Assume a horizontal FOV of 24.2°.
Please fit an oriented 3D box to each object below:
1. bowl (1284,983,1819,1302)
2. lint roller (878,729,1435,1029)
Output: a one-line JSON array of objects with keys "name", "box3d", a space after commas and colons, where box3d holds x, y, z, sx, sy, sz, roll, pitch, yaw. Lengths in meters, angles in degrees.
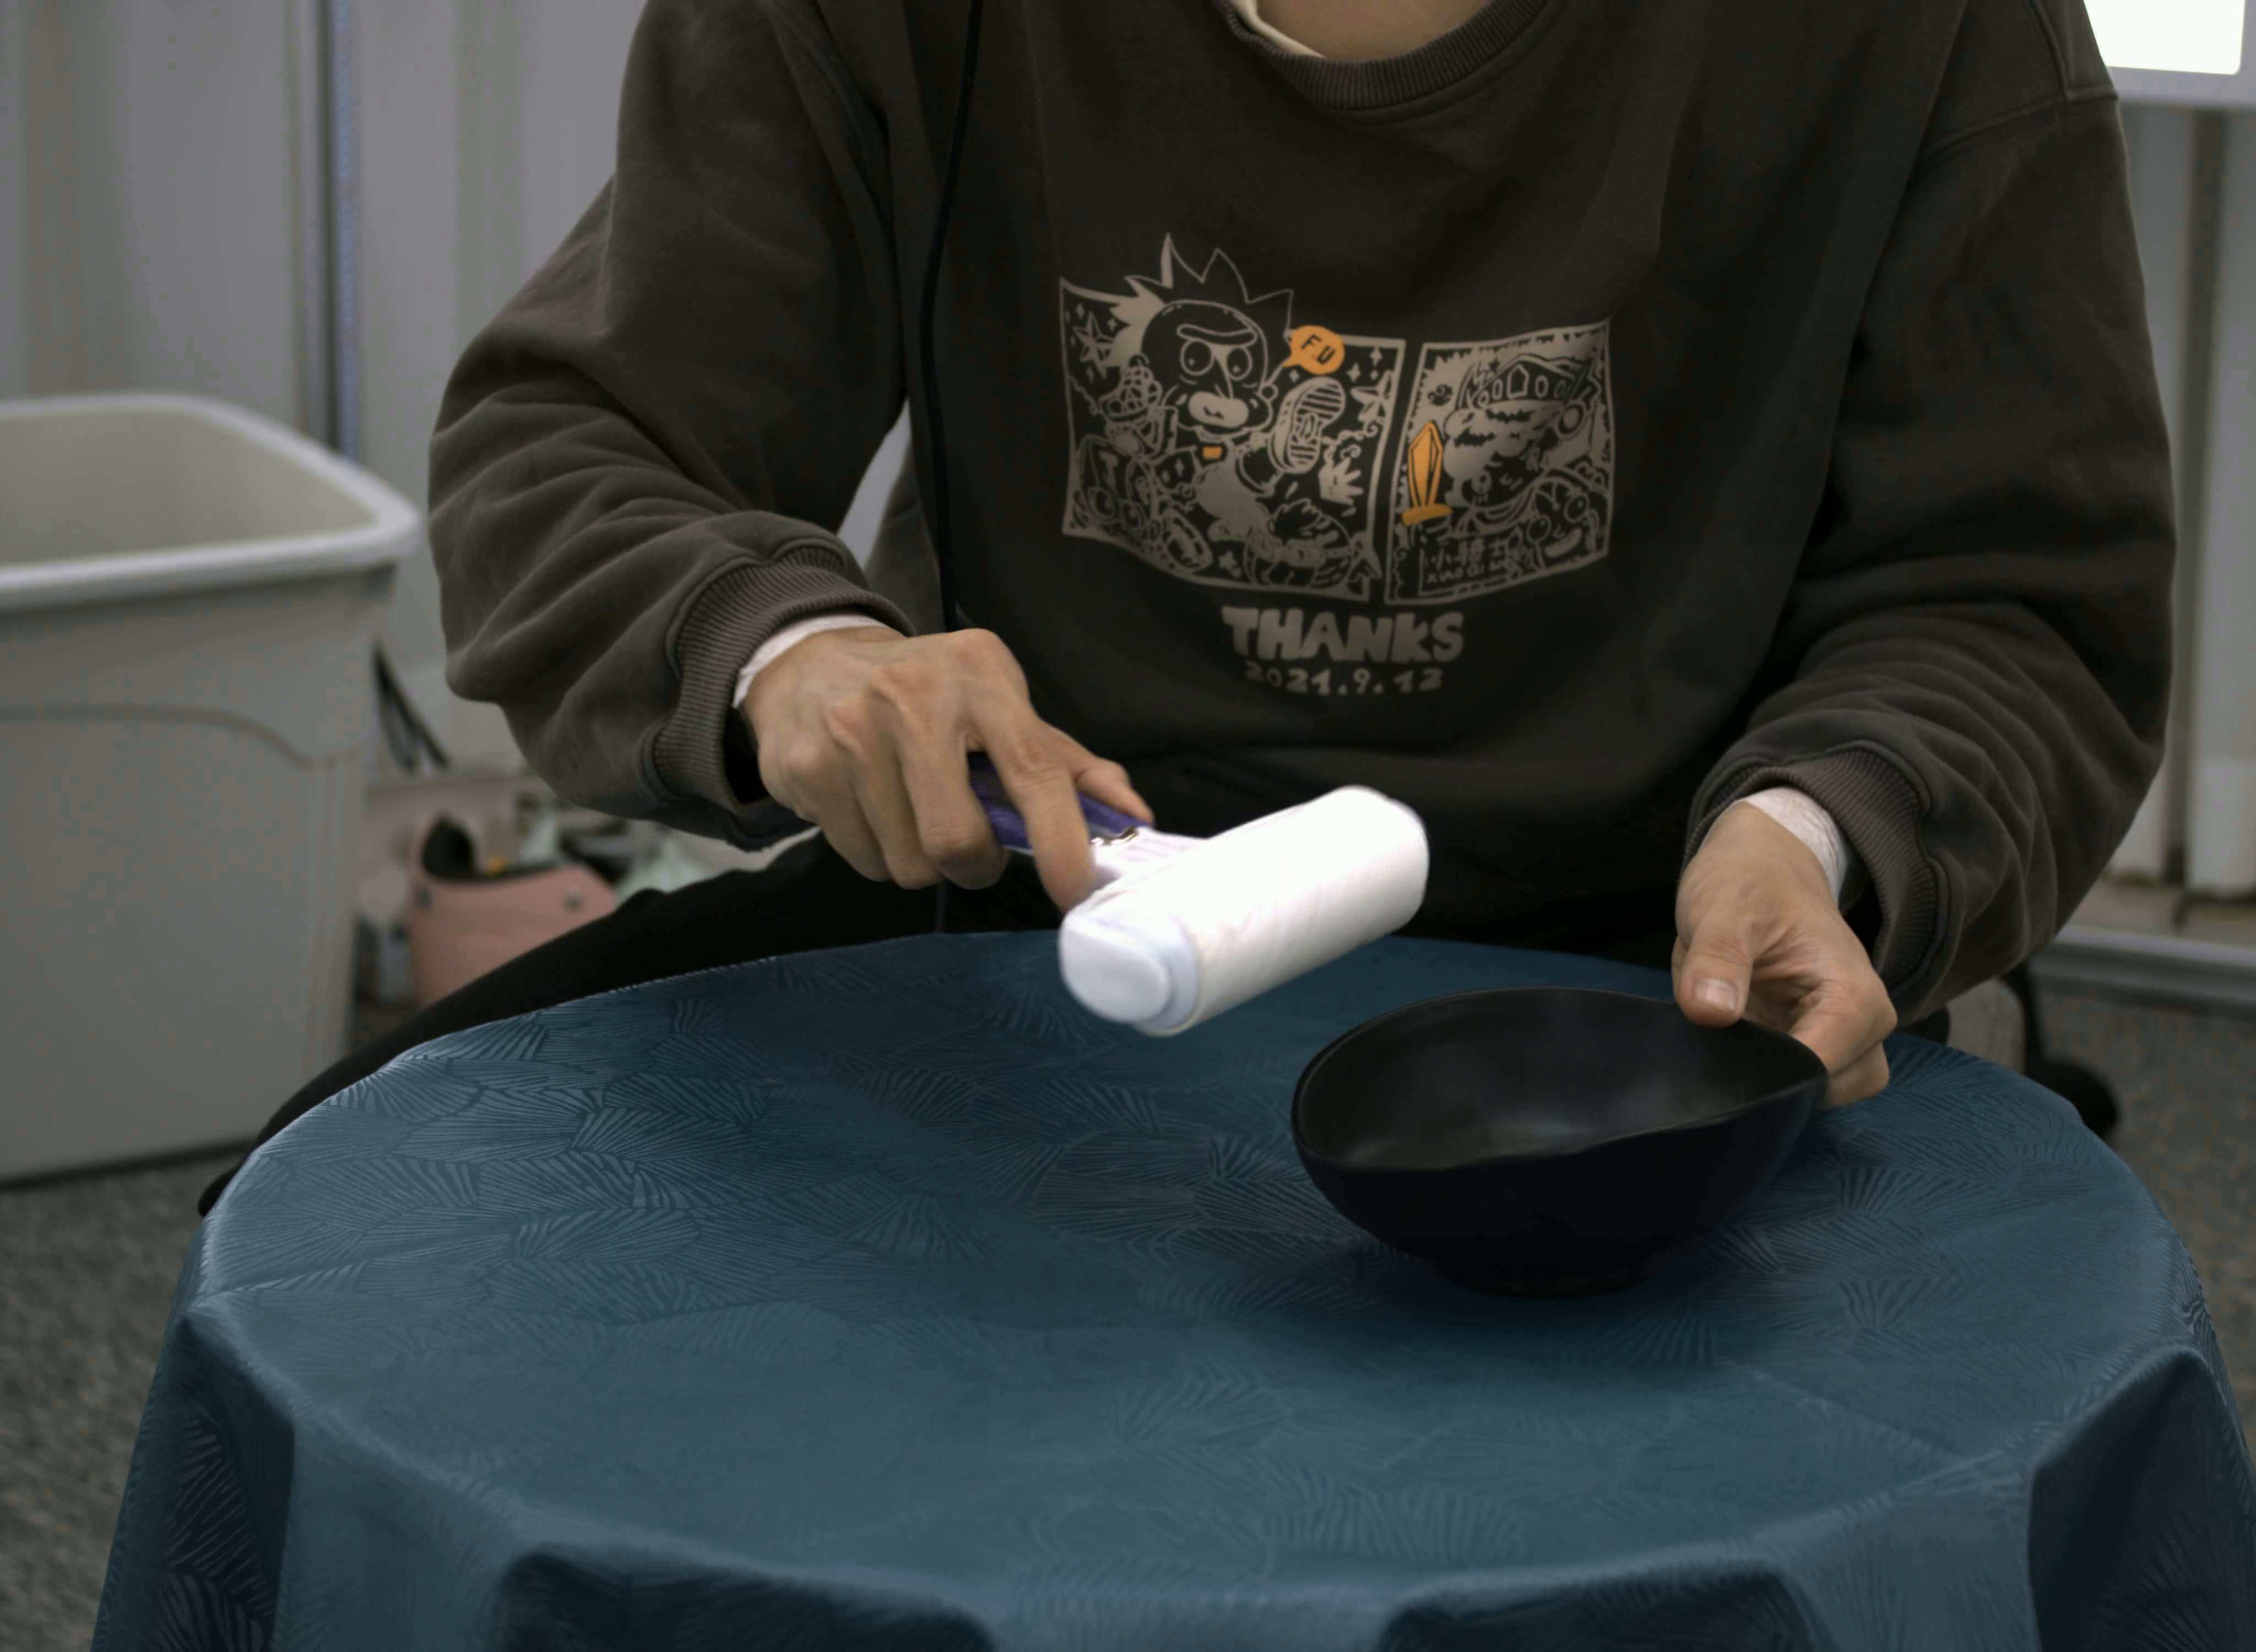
[{"name": "bowl", "box3d": [0.126, 0.100, 1.564, 0.171, 0.067, 0.135, -13, 20, -35]}, {"name": "lint roller", "box3d": [-0.006, -0.005, 1.596, 0.178, 0.050, 0.133, 32, 38, 33]}]
